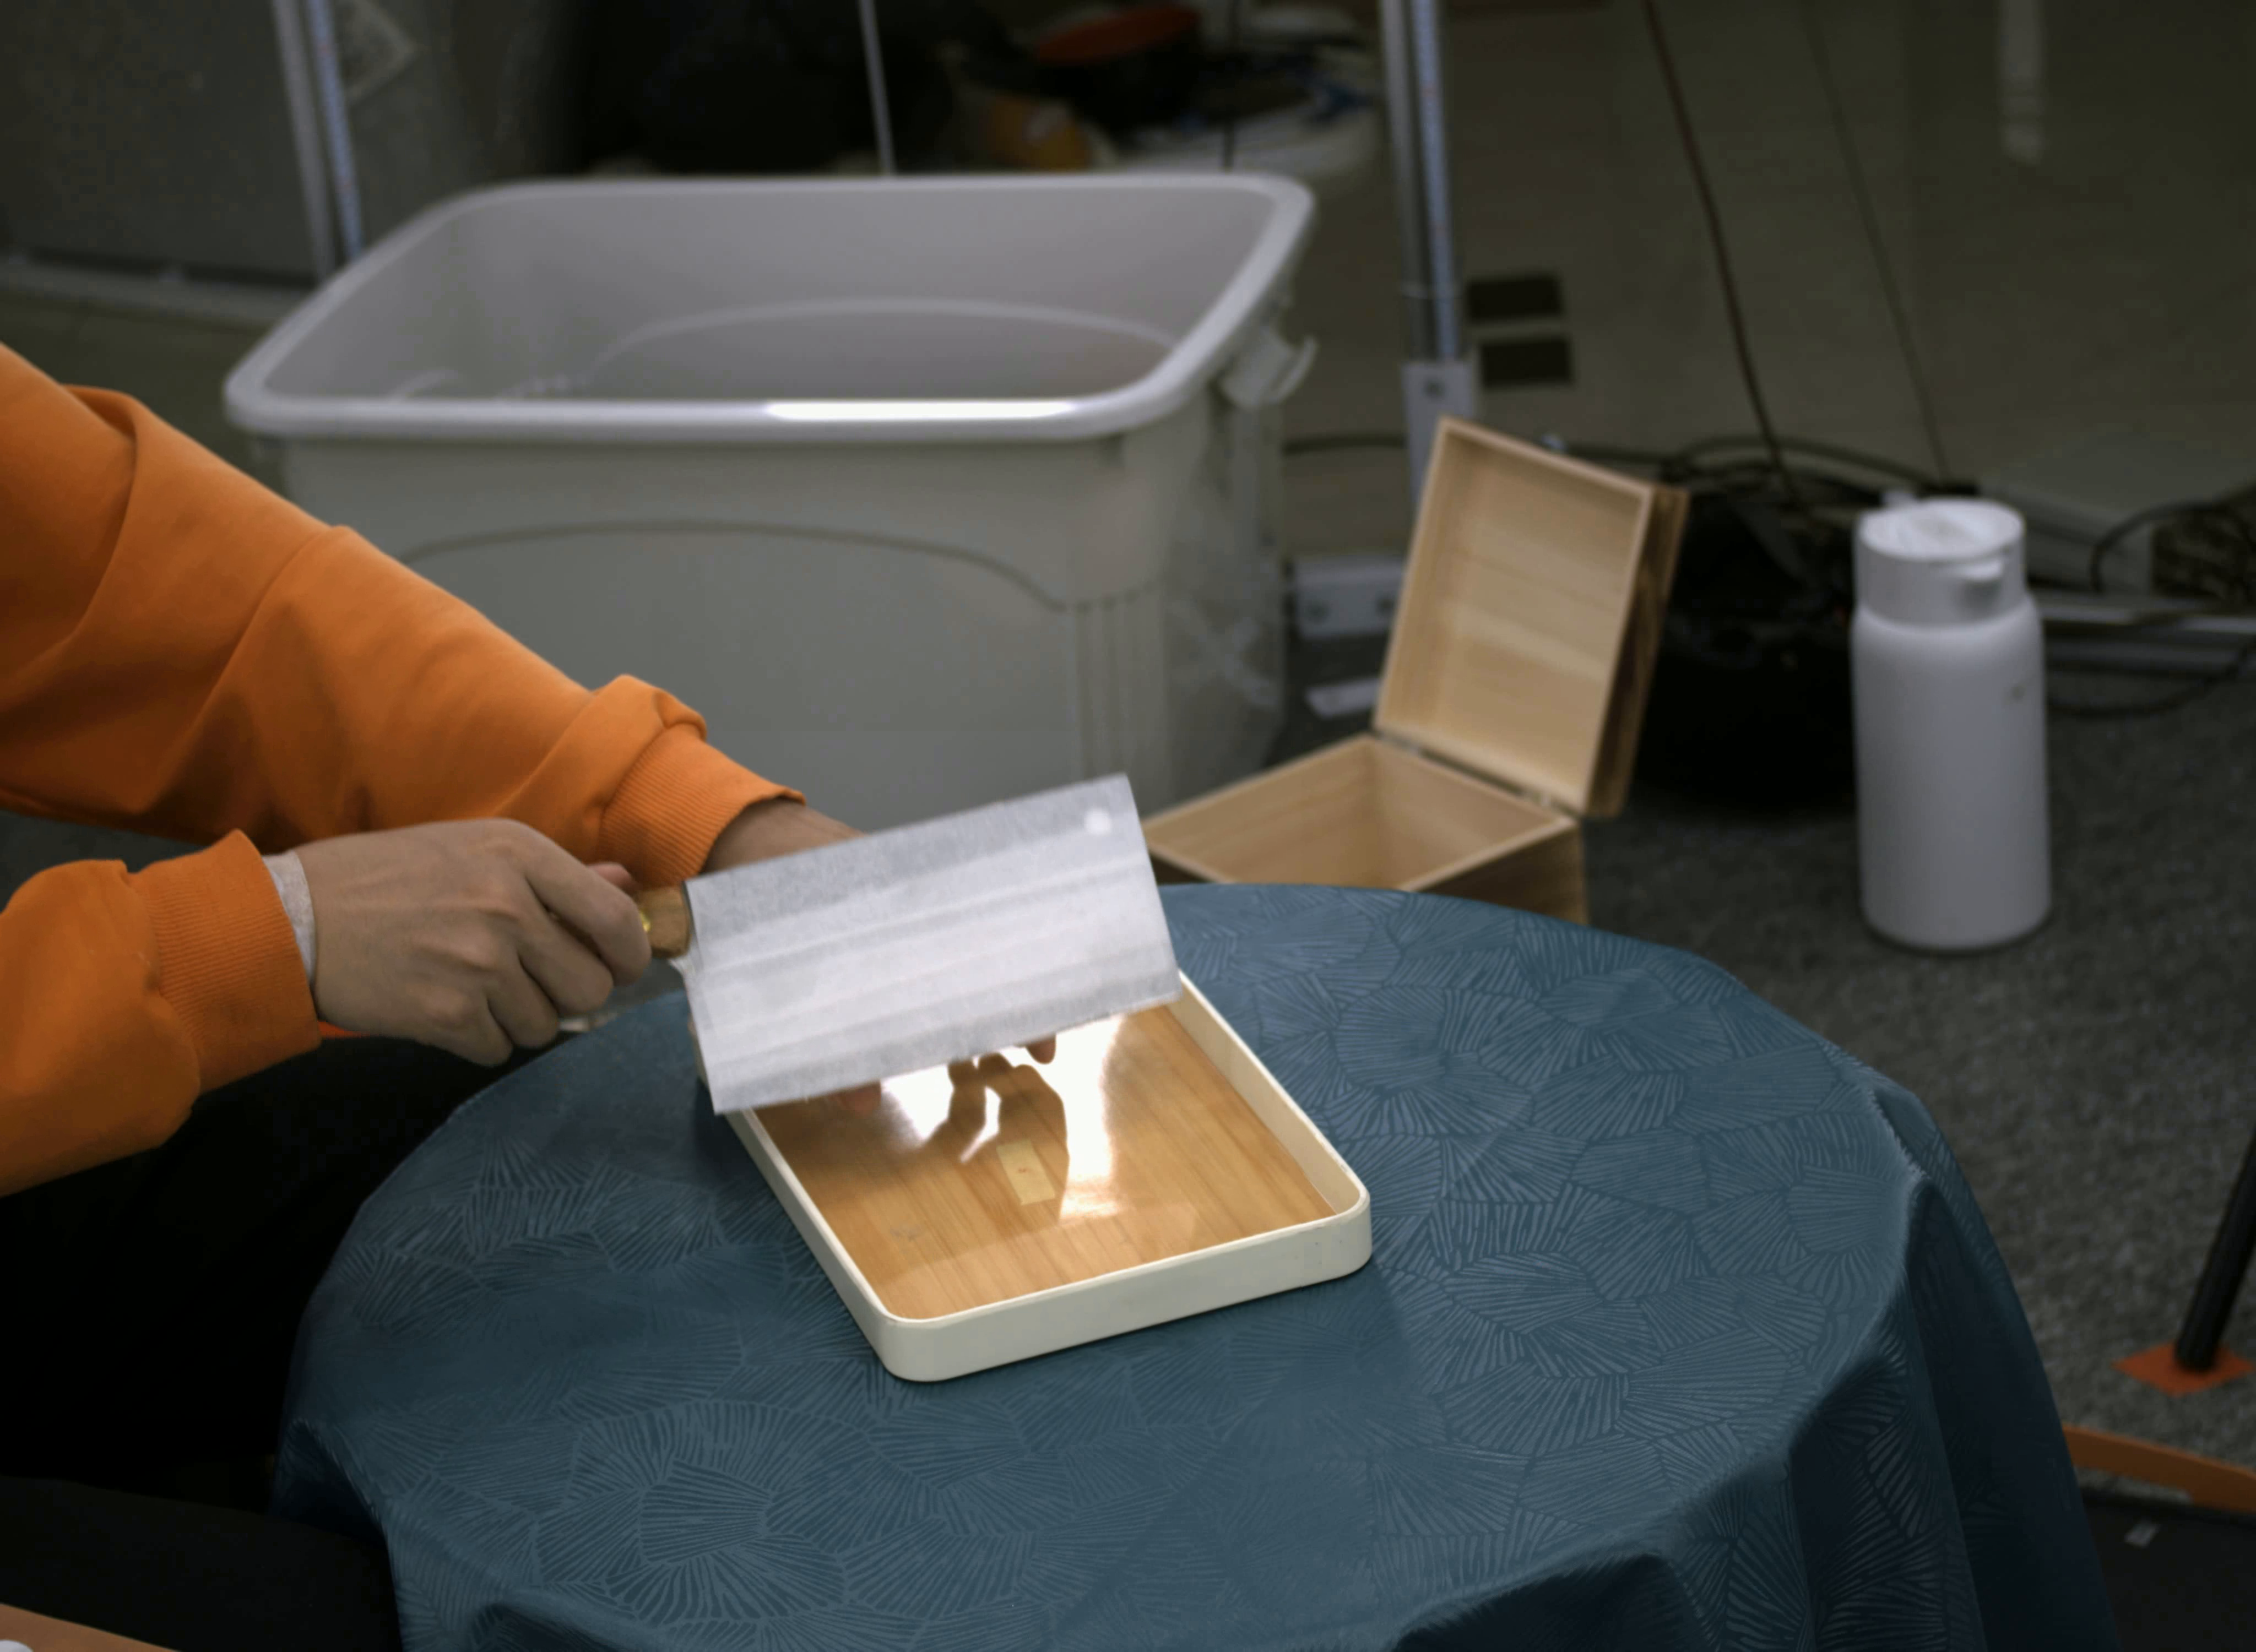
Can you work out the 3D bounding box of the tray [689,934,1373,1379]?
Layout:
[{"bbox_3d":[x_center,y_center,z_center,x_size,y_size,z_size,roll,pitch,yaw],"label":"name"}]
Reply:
[{"bbox_3d":[-0.043,0.116,2.173,0.191,0.028,0.296,-13,26,-15],"label":"tray"}]

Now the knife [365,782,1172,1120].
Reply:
[{"bbox_3d":[-0.131,0.058,2.136,0.305,0.093,0.021,-14,-1,-15],"label":"knife"}]
